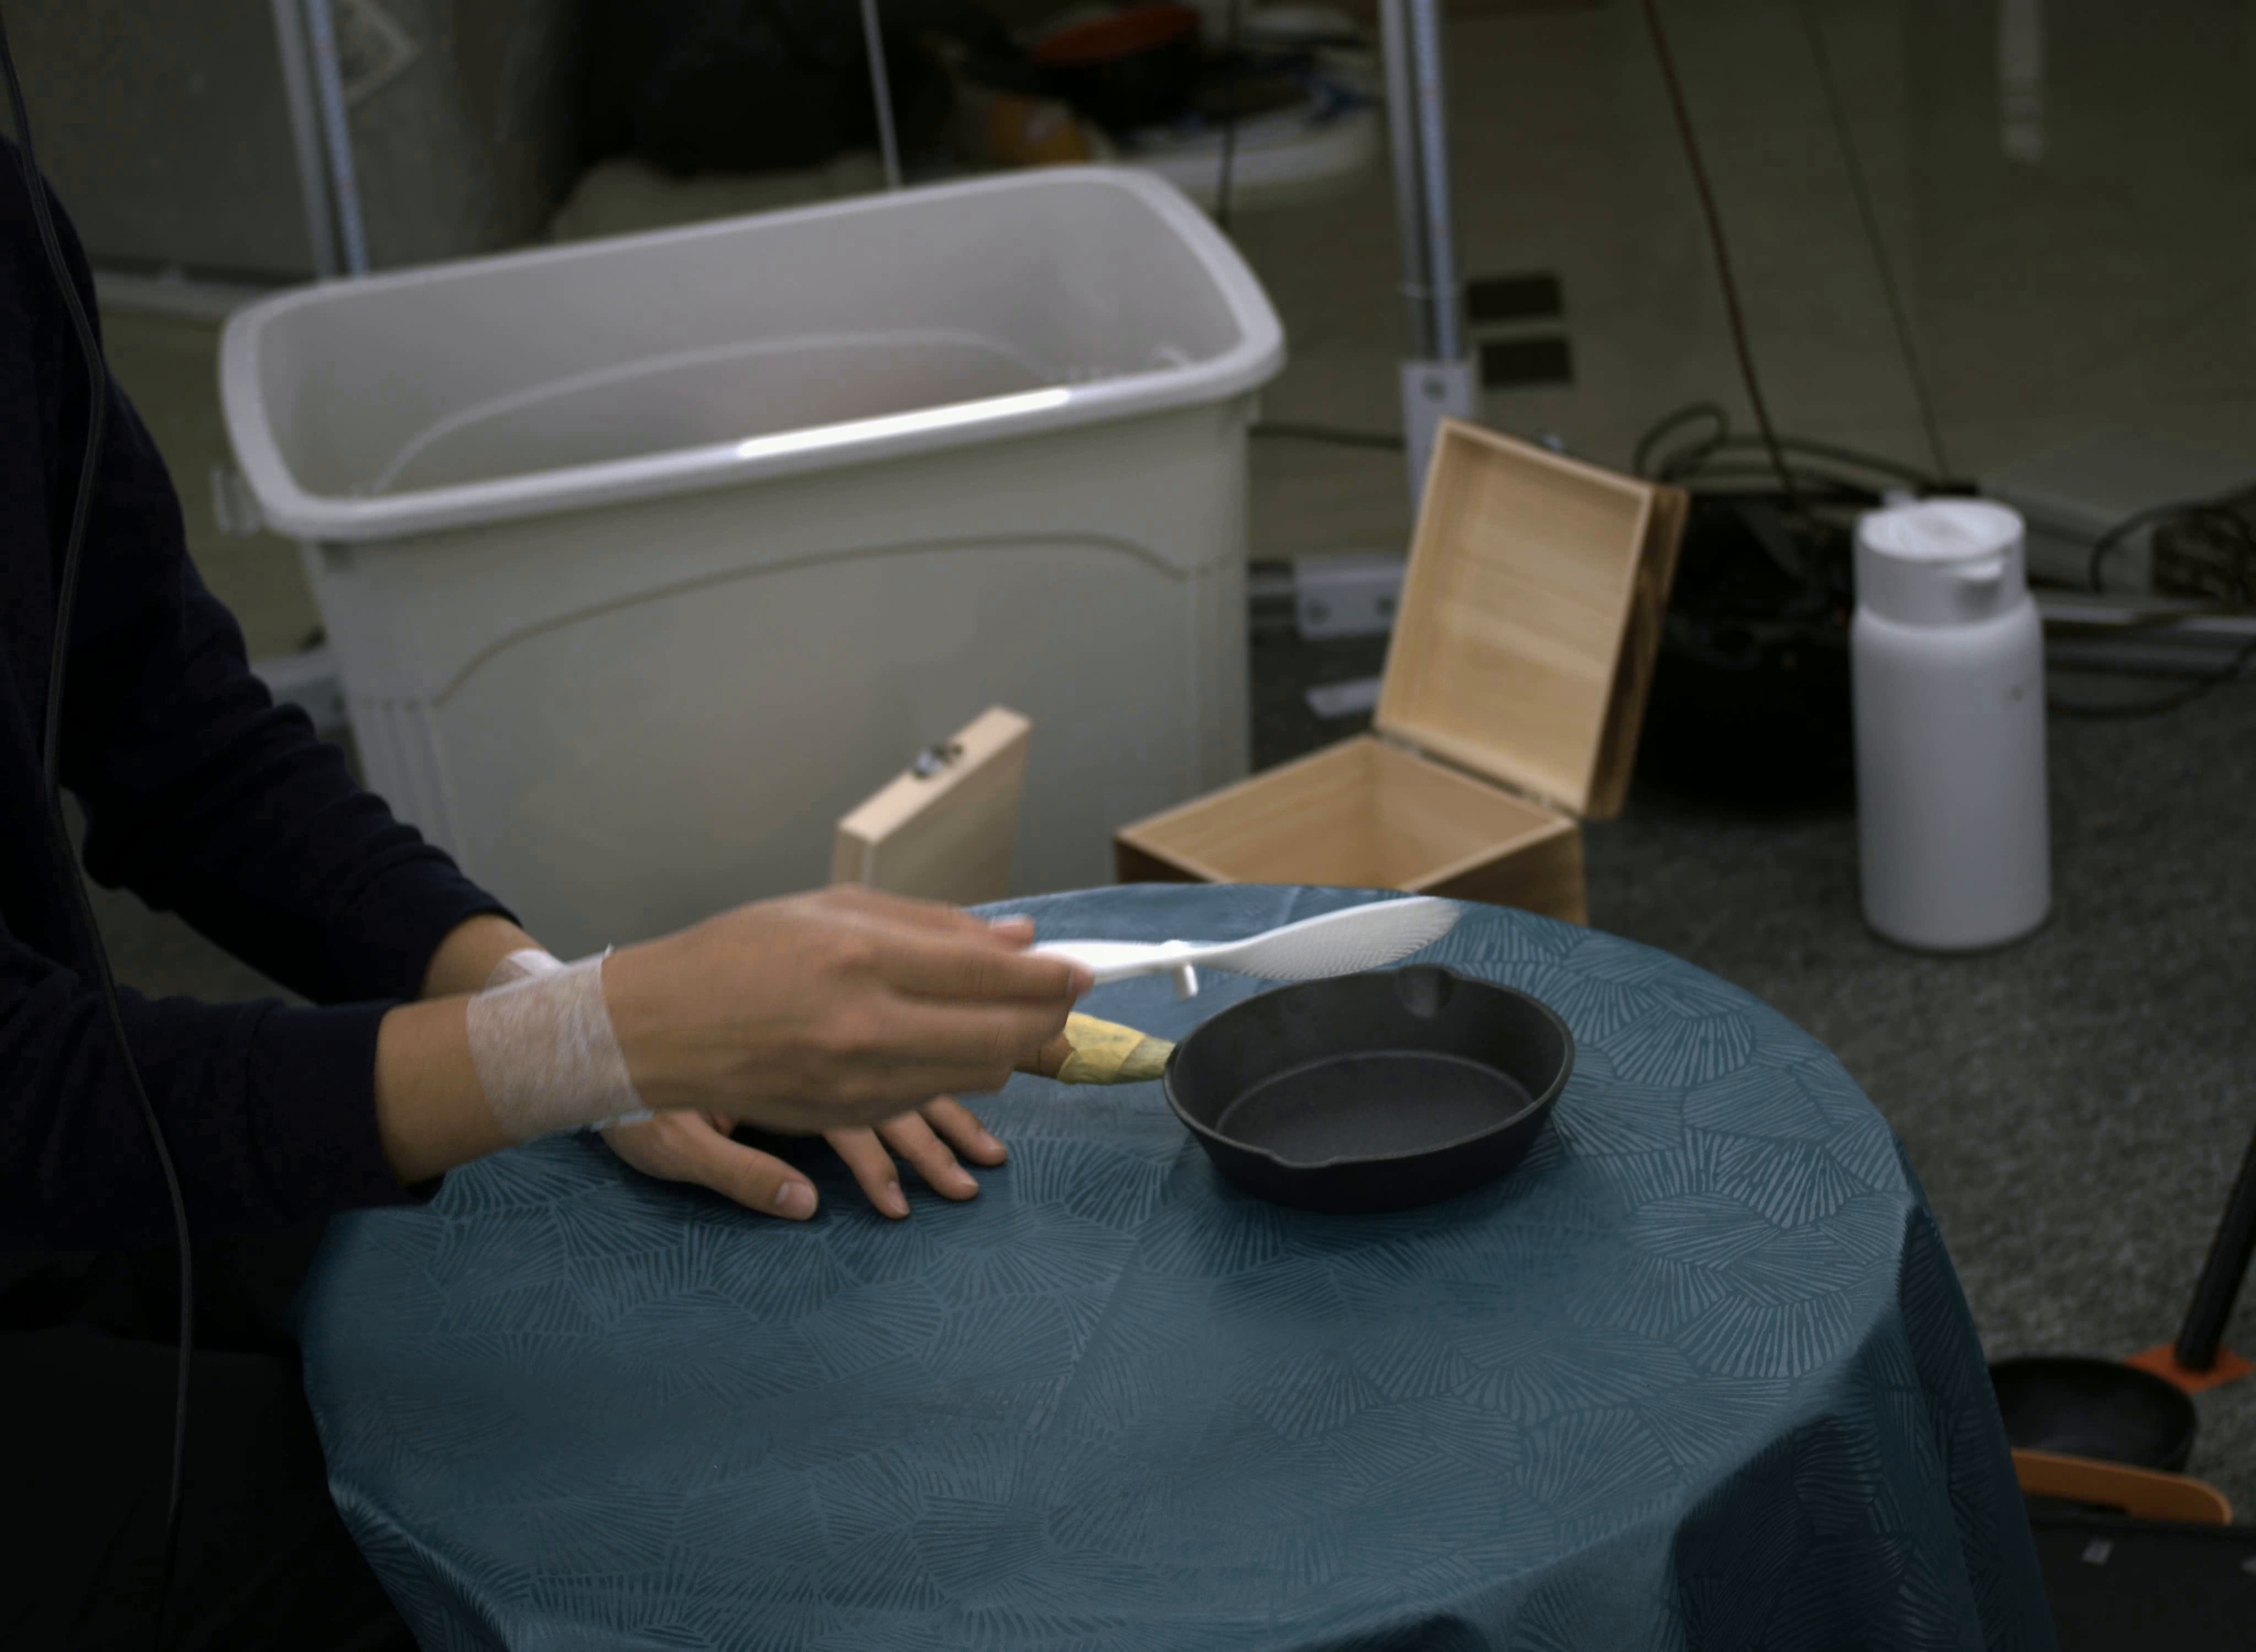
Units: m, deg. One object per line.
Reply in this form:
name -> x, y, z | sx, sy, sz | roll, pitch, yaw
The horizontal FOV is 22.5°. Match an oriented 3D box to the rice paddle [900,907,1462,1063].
rice paddle -> 0.021, 0.047, 1.935 | 0.204, 0.029, 0.069 | -11, -6, -23

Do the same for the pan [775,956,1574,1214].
pan -> 0.014, 0.090, 2.188 | 0.323, 0.050, 0.166 | 6, 28, 22
